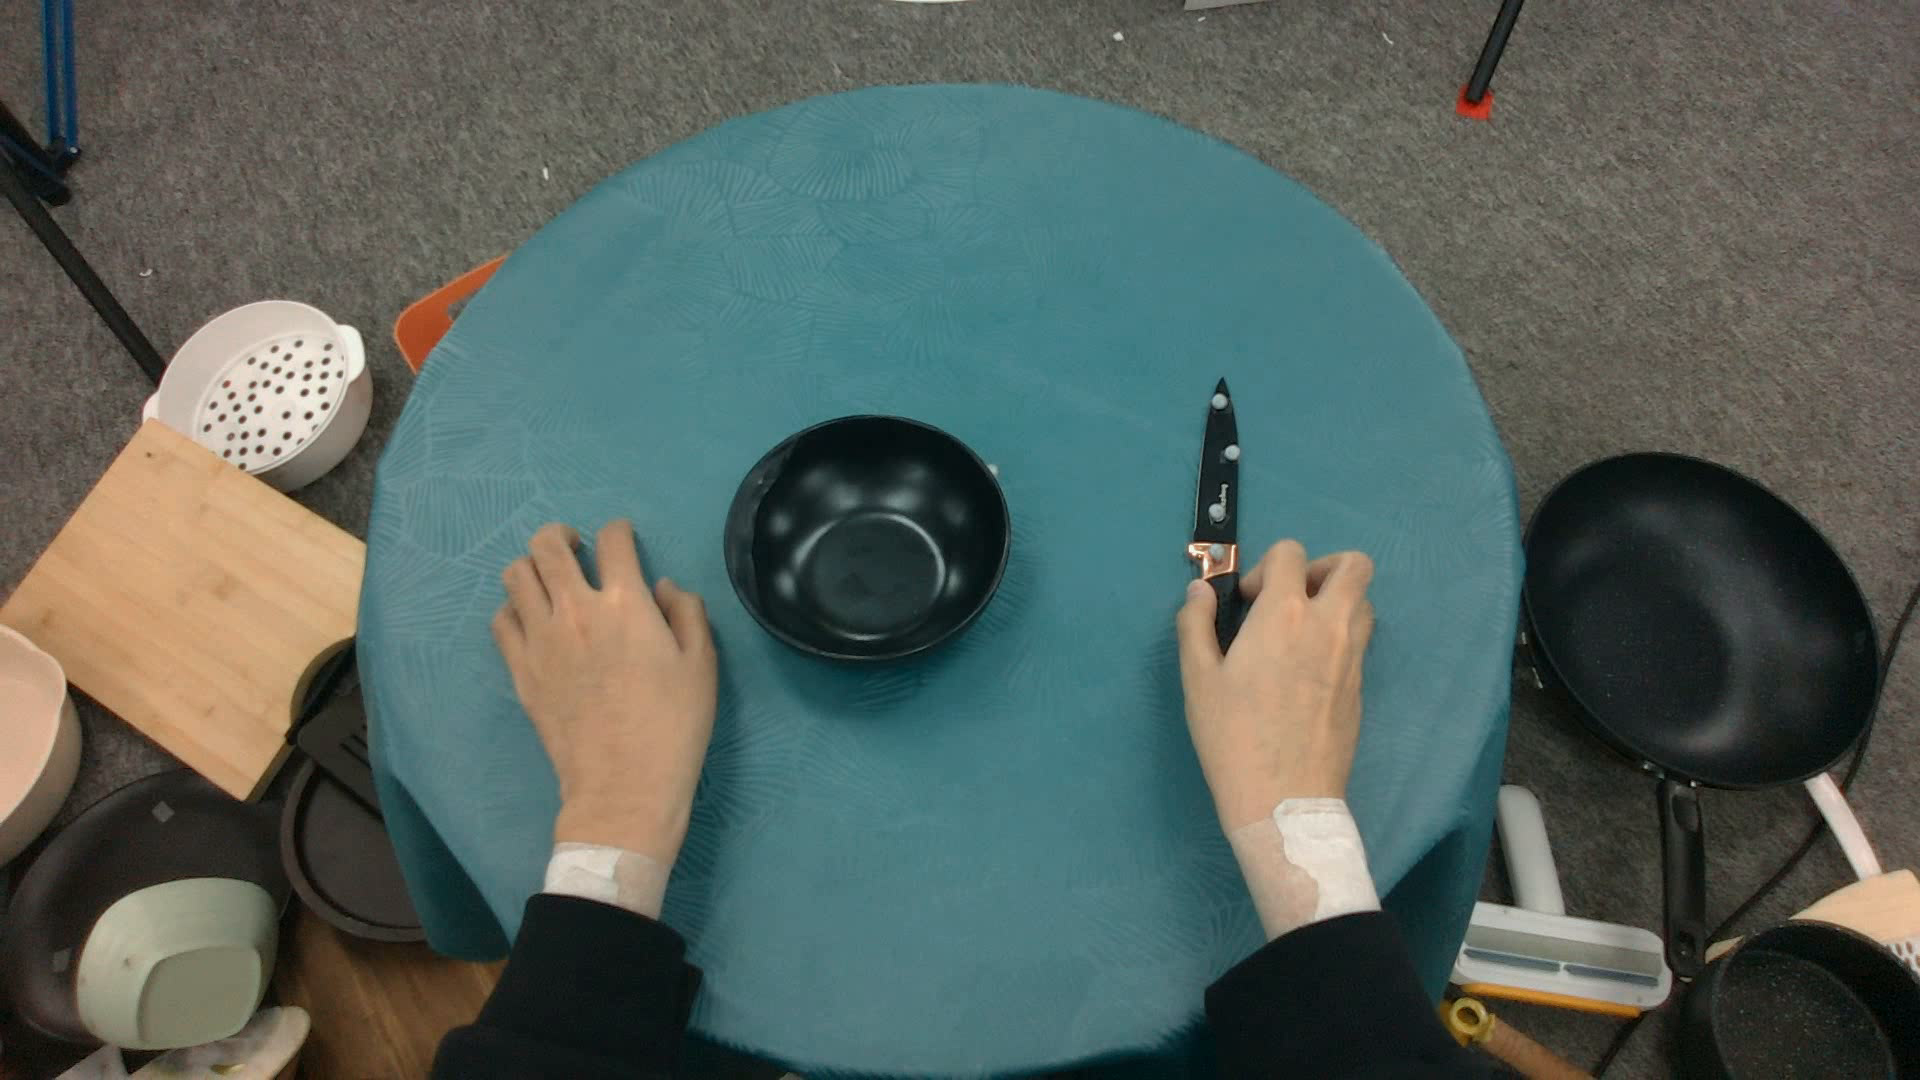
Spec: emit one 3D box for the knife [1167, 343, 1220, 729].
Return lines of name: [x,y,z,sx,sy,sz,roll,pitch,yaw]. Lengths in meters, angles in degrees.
knife: [0.119,-0.010,0.703,0.026,0.017,0.226,4,60,7]

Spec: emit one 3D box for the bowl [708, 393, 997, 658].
bowl: [-0.052,-0.001,0.681,0.140,0.049,0.140,1,65,-1]
